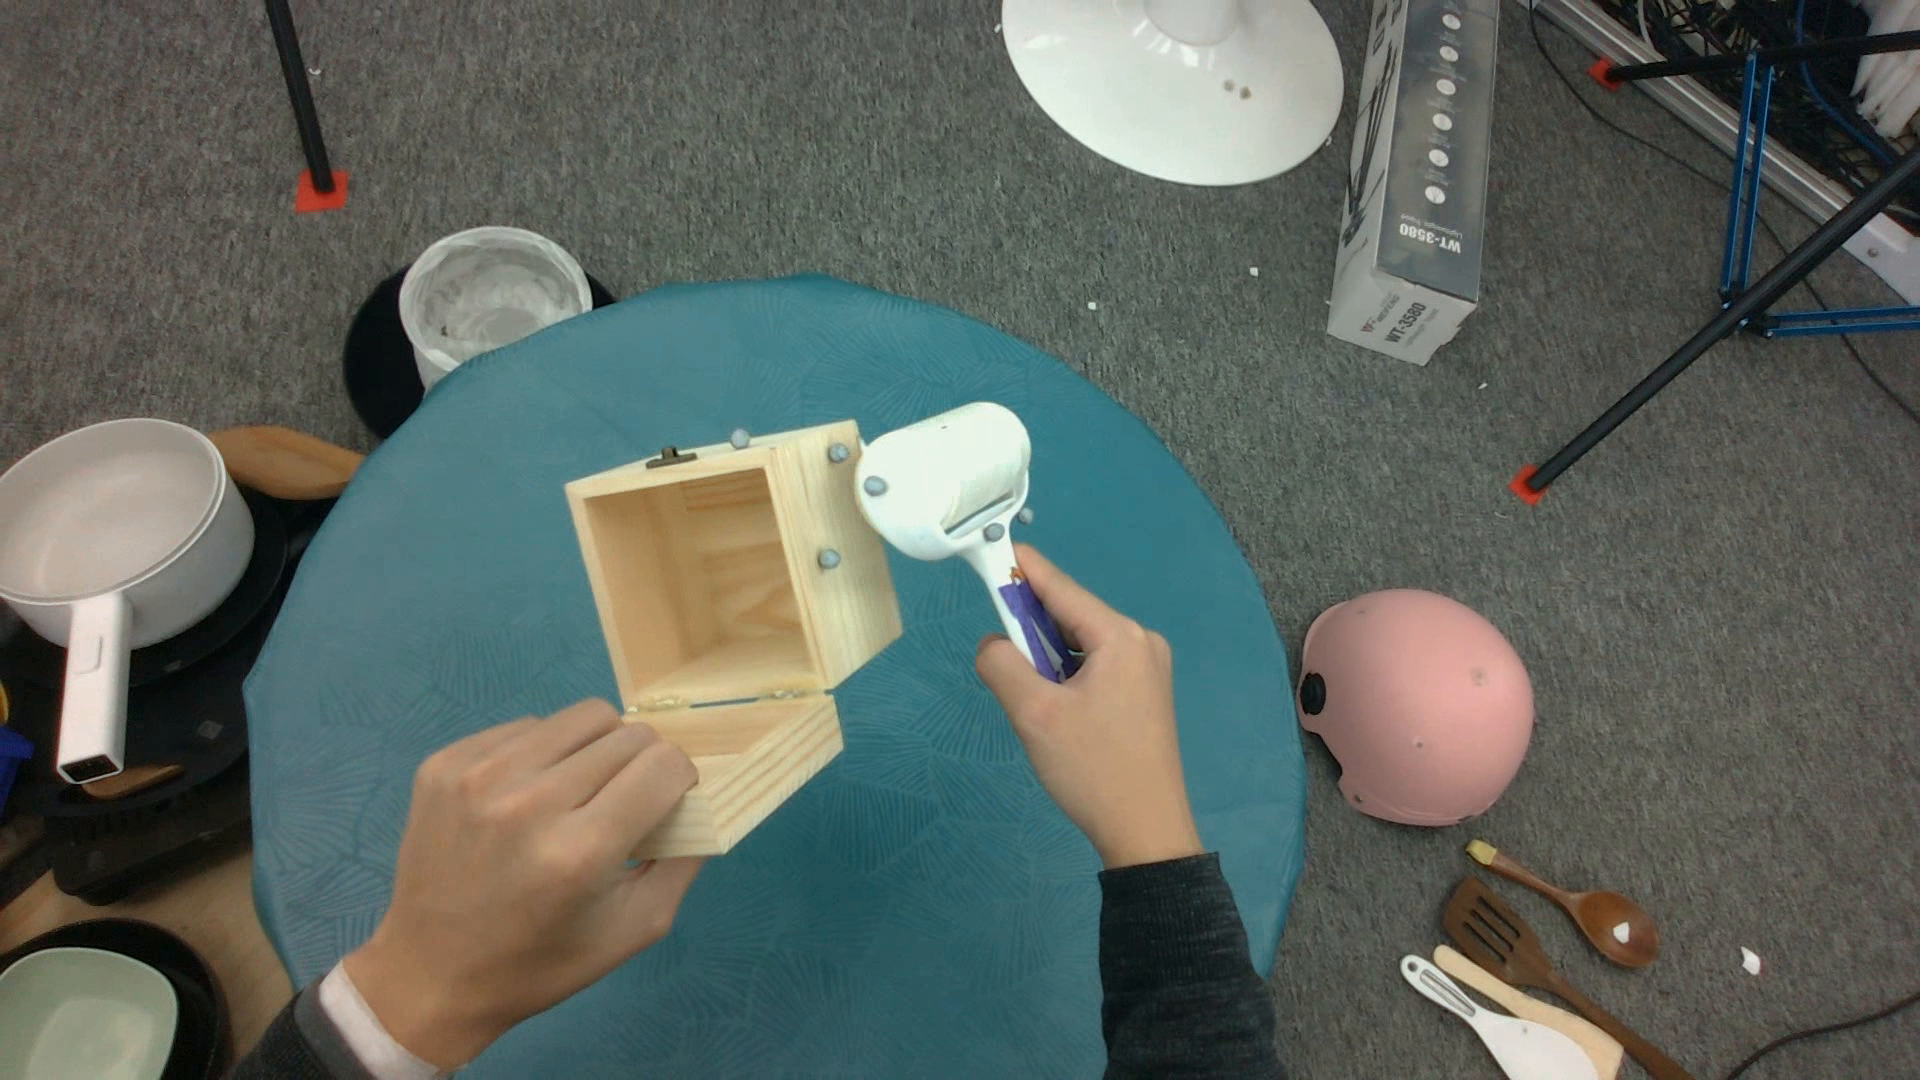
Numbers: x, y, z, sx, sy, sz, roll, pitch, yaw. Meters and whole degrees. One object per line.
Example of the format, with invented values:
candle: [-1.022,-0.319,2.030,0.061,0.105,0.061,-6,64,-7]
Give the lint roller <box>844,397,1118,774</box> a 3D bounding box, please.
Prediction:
lint roller: [0.027,0.020,0.604,0.181,0.050,0.133,54,23,4]

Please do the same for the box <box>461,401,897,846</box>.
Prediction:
box: [-0.112,0.024,0.549,0.102,0.185,0.133,-8,101,22]
